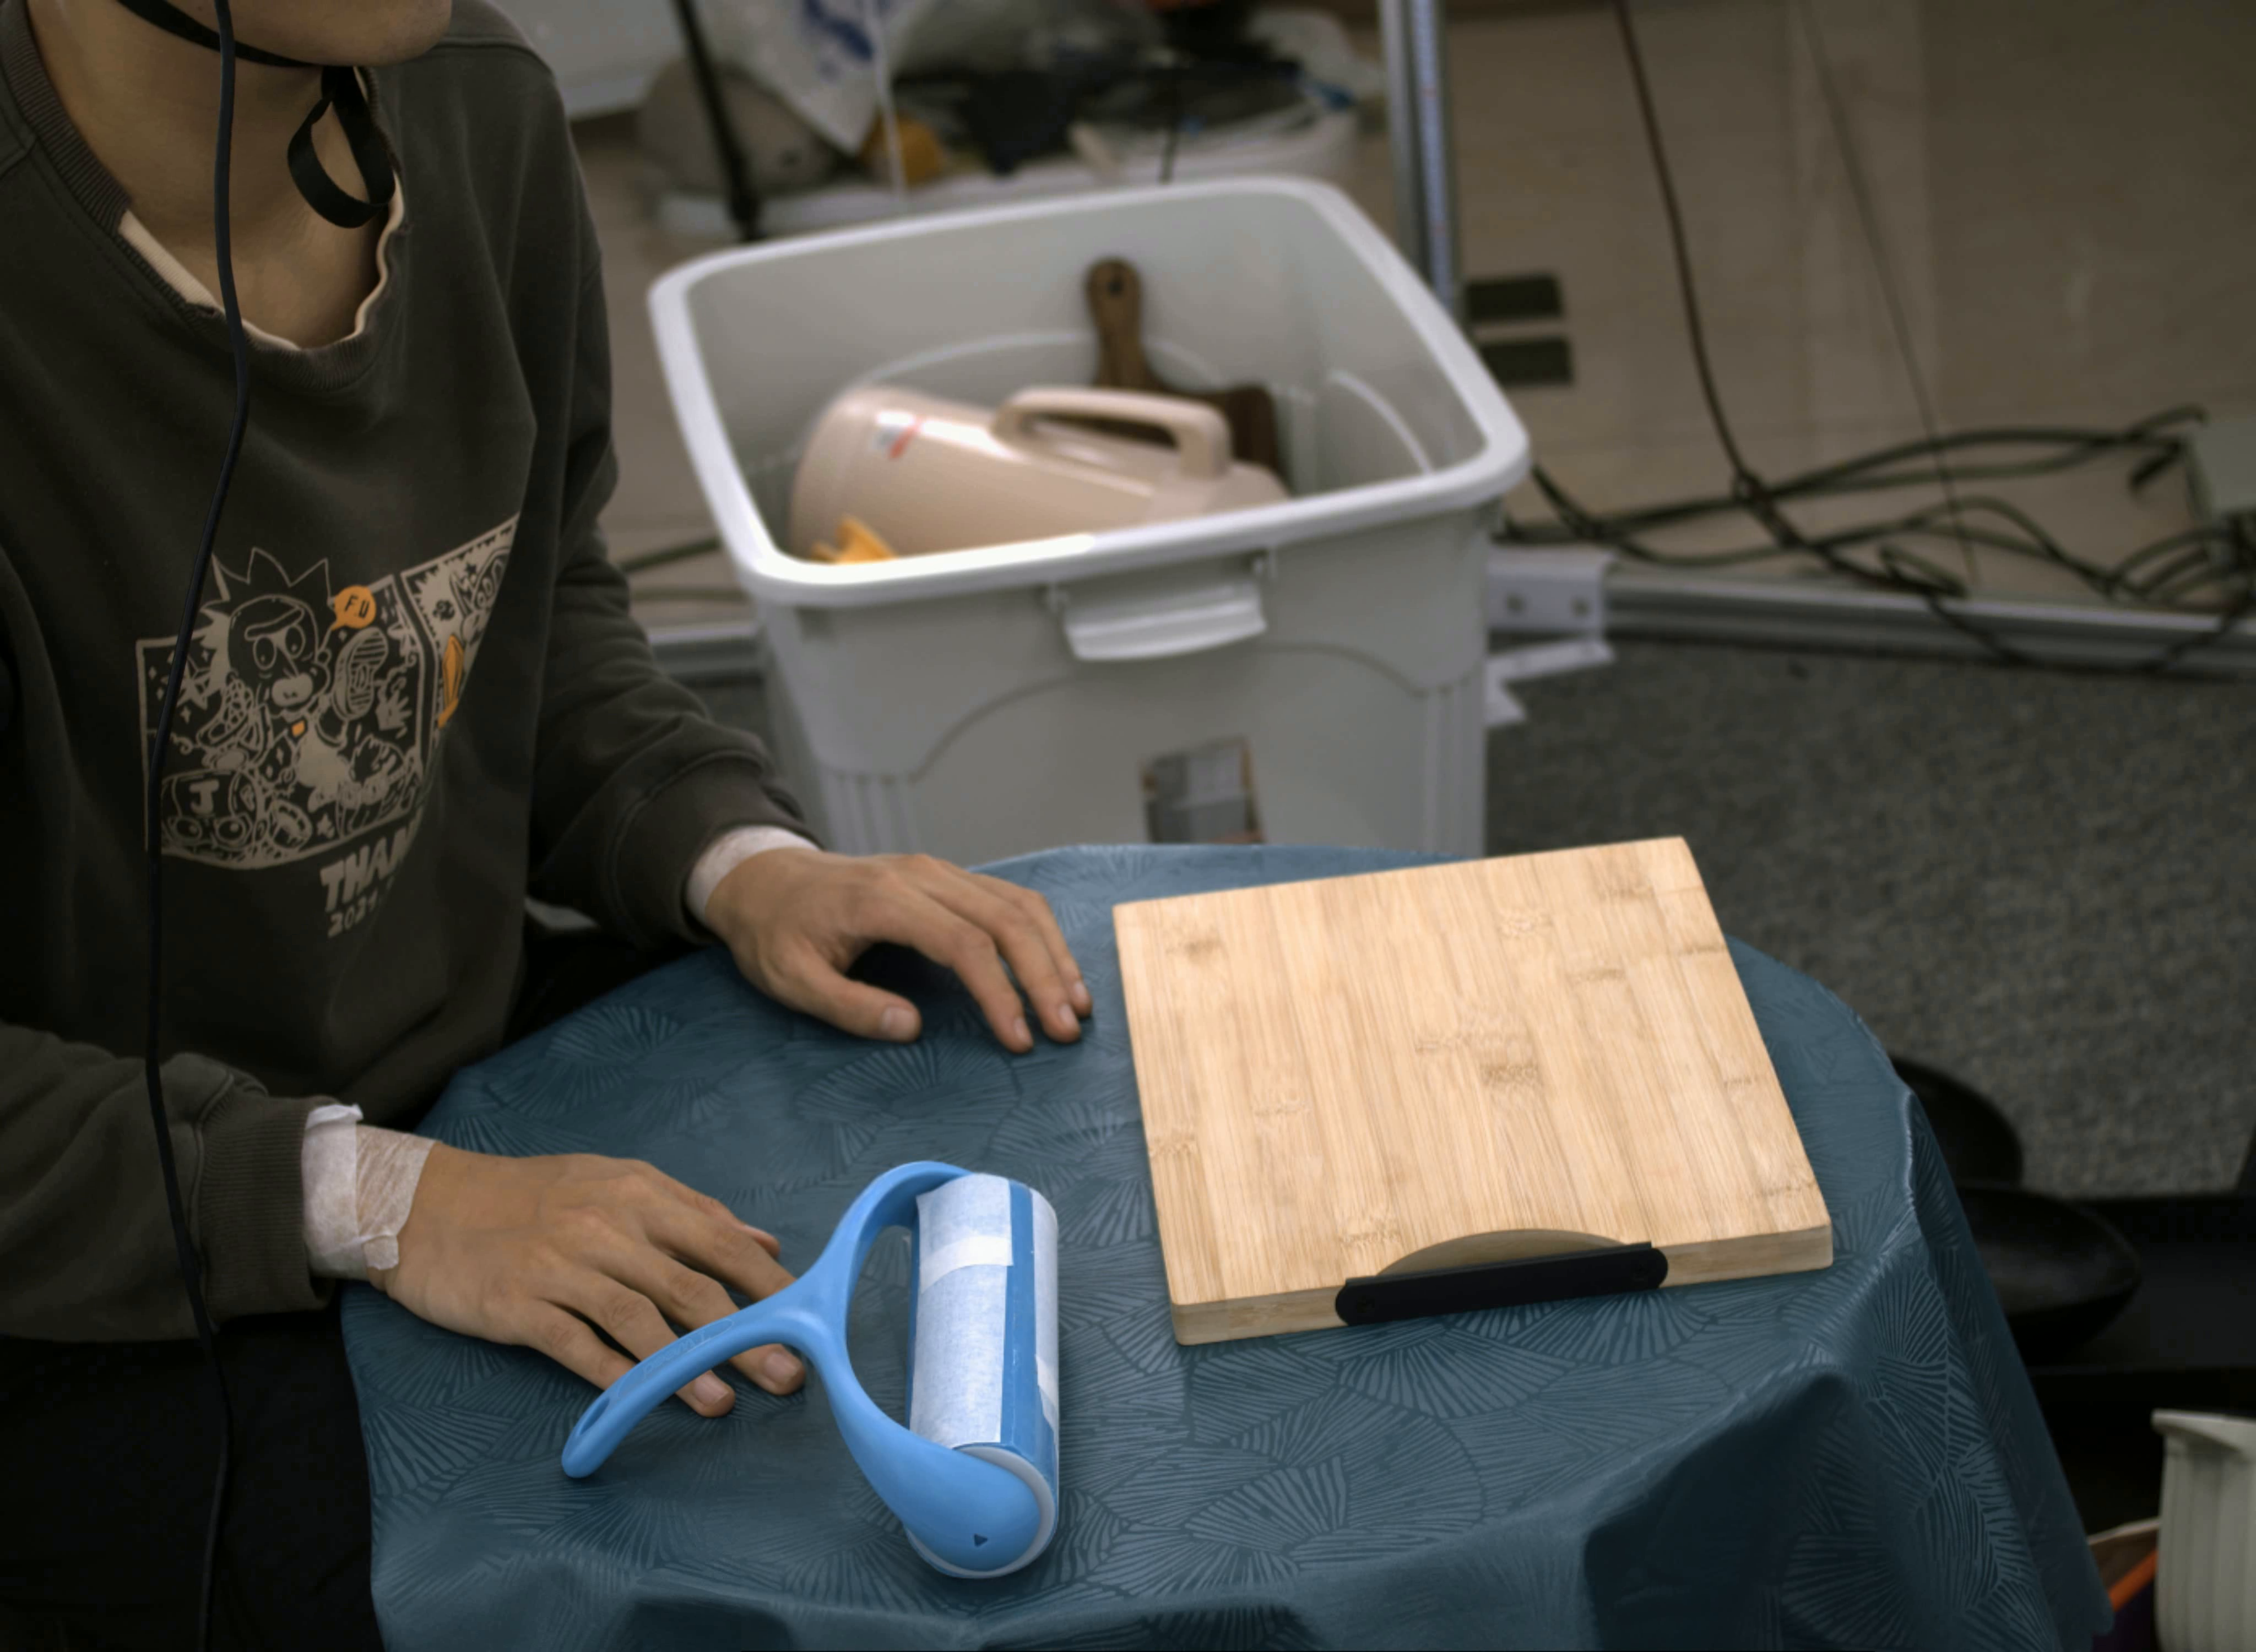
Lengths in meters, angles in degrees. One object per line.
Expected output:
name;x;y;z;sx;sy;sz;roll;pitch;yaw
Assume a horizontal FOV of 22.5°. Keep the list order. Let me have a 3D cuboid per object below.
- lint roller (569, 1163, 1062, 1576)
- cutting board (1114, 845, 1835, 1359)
lint roller;-0.110;0.194;1.987;0.180;0.069;0.225;-5;26;-1
cutting board;0.124;0.099;2.183;0.250;0.024;0.343;-8;25;-1
